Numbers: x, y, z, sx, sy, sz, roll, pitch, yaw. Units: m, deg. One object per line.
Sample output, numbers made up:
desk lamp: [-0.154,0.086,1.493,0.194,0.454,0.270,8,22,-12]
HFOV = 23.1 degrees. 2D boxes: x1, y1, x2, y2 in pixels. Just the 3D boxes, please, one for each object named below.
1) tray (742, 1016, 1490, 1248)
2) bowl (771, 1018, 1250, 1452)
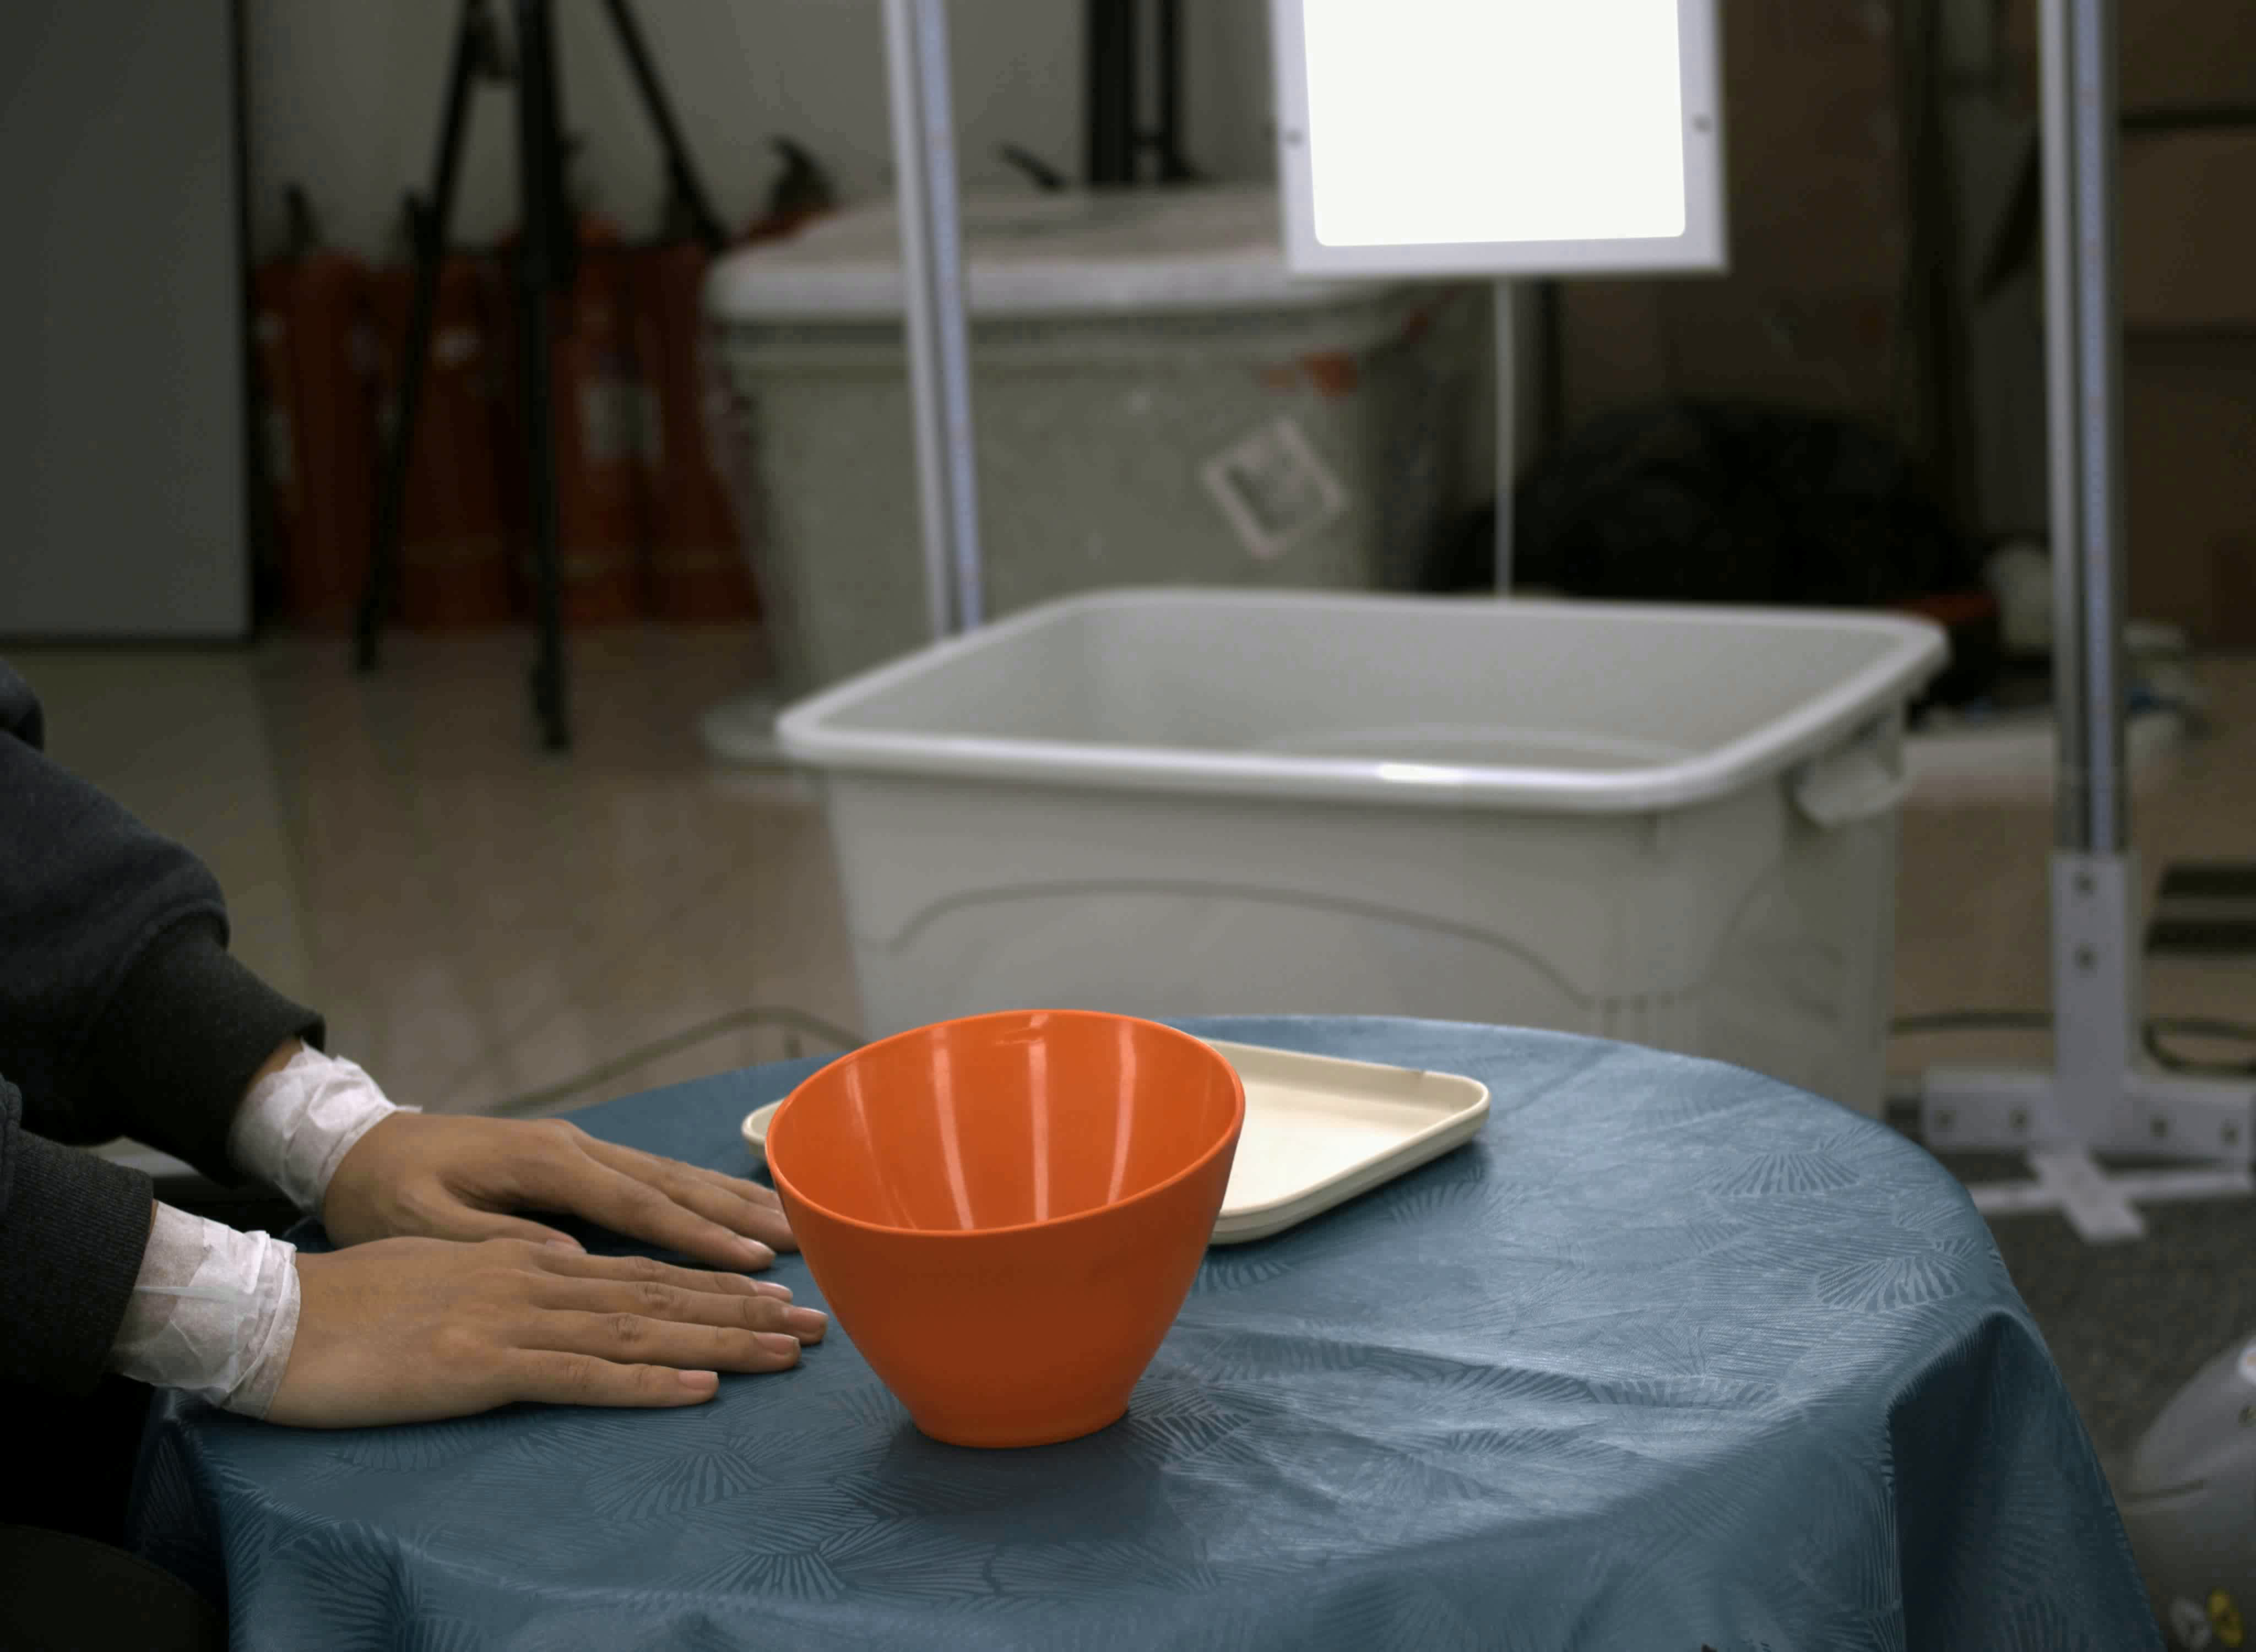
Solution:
tray: [-0.005,0.107,1.941,0.245,0.017,0.167,7,19,40]
bowl: [-0.034,0.129,1.688,0.147,0.105,0.148,-4,13,-1]
